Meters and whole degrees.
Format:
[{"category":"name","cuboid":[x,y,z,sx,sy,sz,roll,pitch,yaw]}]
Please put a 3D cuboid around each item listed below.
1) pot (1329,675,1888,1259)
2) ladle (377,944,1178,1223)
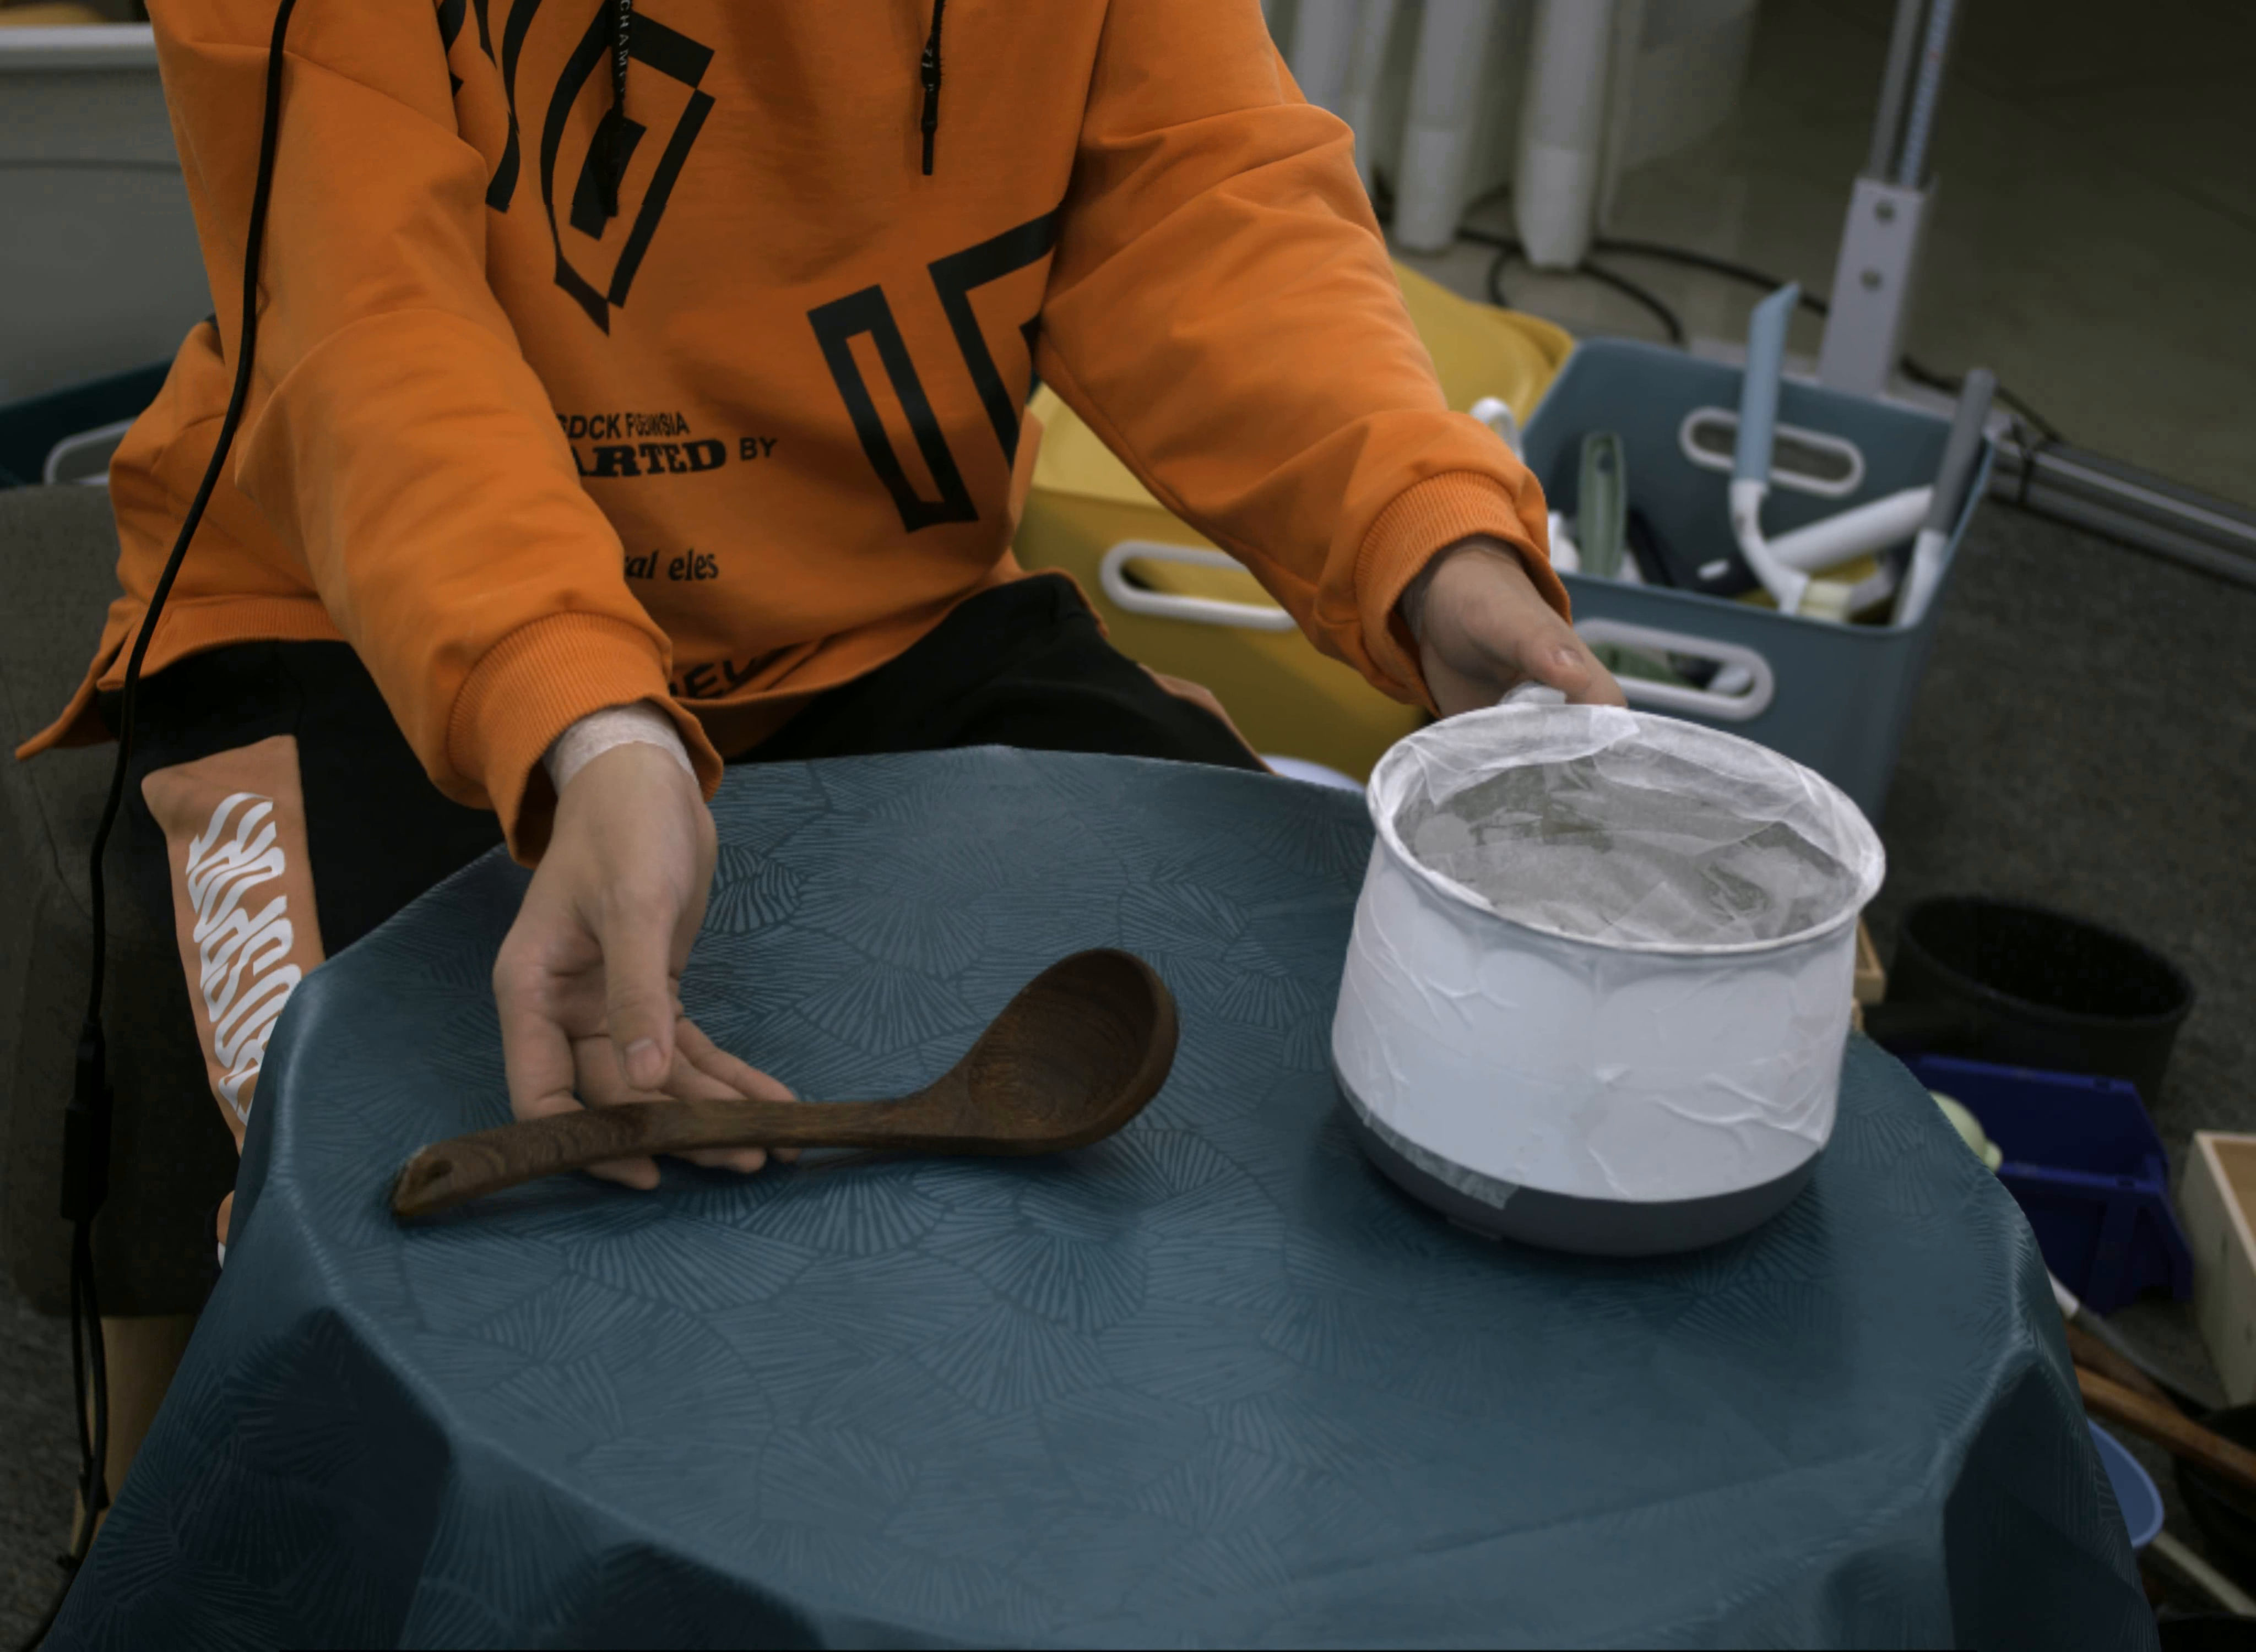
[{"category":"pot","cuboid":[0.154,0.041,1.847,0.177,0.136,0.236,-1,28,-16]},{"category":"ladle","cuboid":[-0.114,0.086,1.773,0.272,0.071,0.077,-5,34,-24]}]
